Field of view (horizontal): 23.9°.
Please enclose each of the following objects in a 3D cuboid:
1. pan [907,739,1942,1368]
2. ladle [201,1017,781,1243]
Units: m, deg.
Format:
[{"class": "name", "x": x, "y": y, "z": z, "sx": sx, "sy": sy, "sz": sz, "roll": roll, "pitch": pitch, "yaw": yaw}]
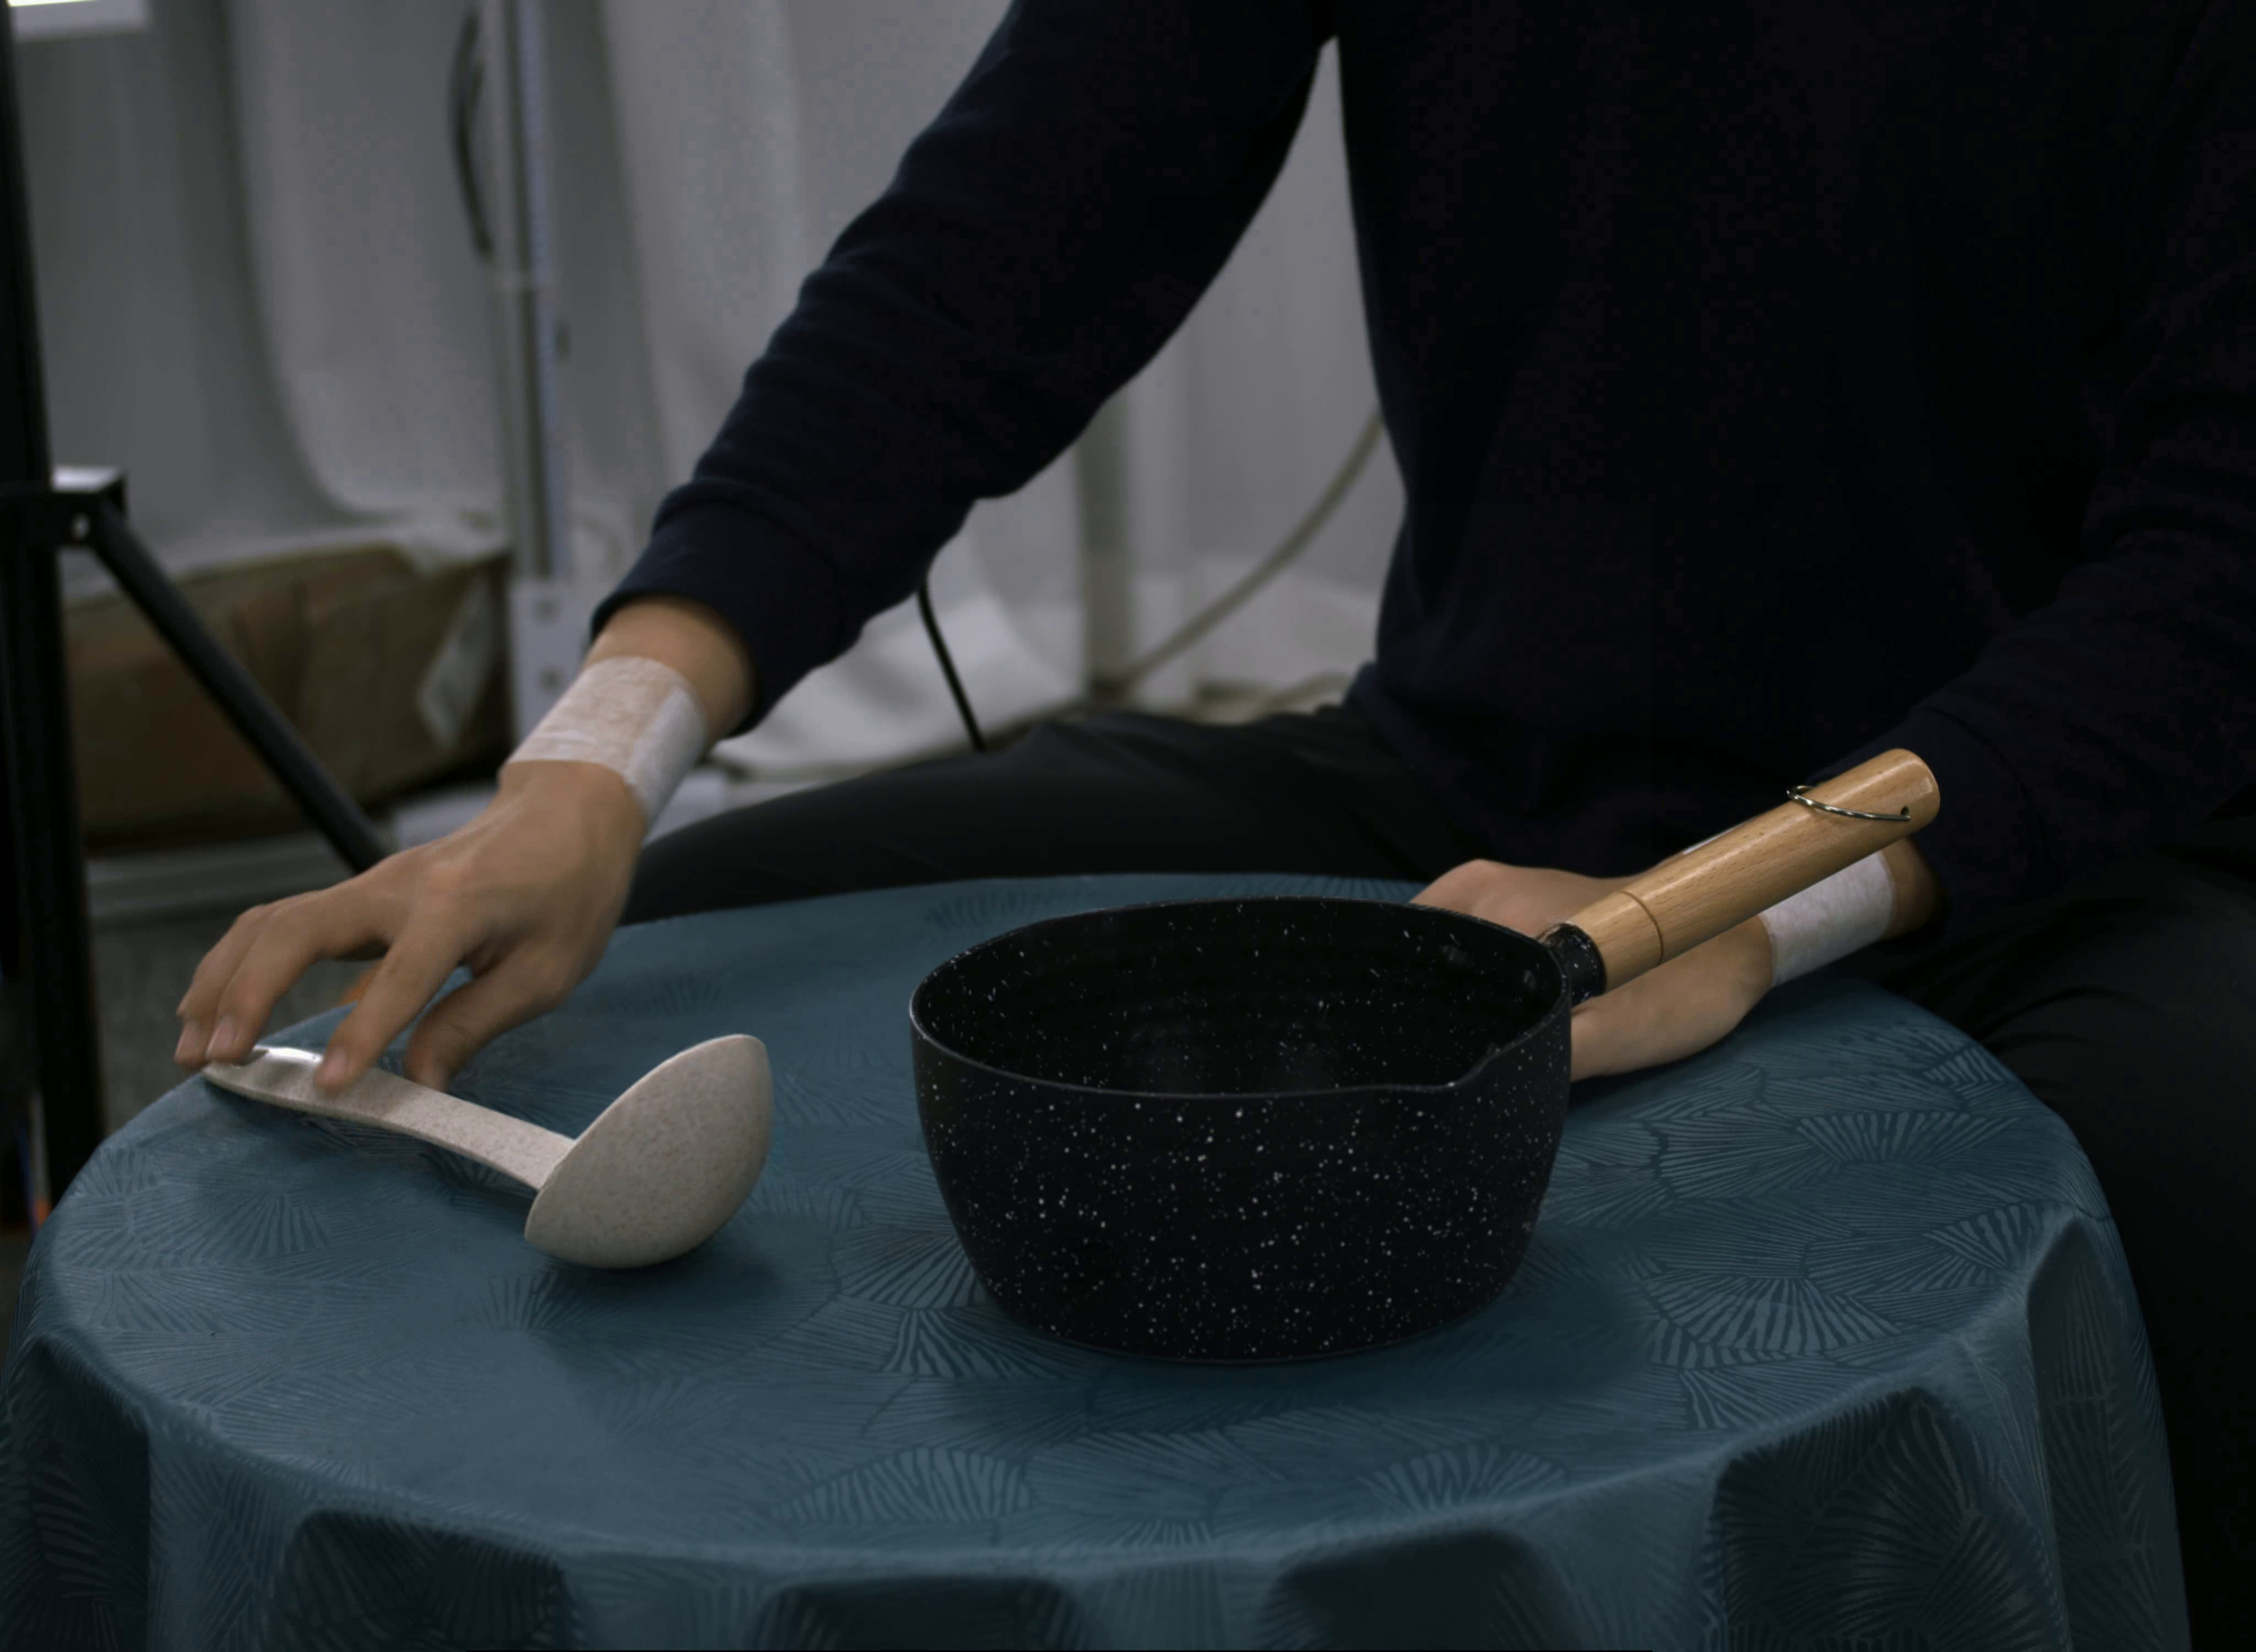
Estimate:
[{"class": "pan", "x": 0.097, "y": 0.060, "z": 1.515, "sx": 0.335, "sy": 0.108, "sz": 0.212, "roll": -14, "pitch": 18, "yaw": -31}, {"class": "ladle", "x": -0.206, "y": 0.069, "z": 1.599, "sx": 0.087, "sy": 0.069, "sz": 0.281, "roll": -20, "pitch": 21, "yaw": -36}]
